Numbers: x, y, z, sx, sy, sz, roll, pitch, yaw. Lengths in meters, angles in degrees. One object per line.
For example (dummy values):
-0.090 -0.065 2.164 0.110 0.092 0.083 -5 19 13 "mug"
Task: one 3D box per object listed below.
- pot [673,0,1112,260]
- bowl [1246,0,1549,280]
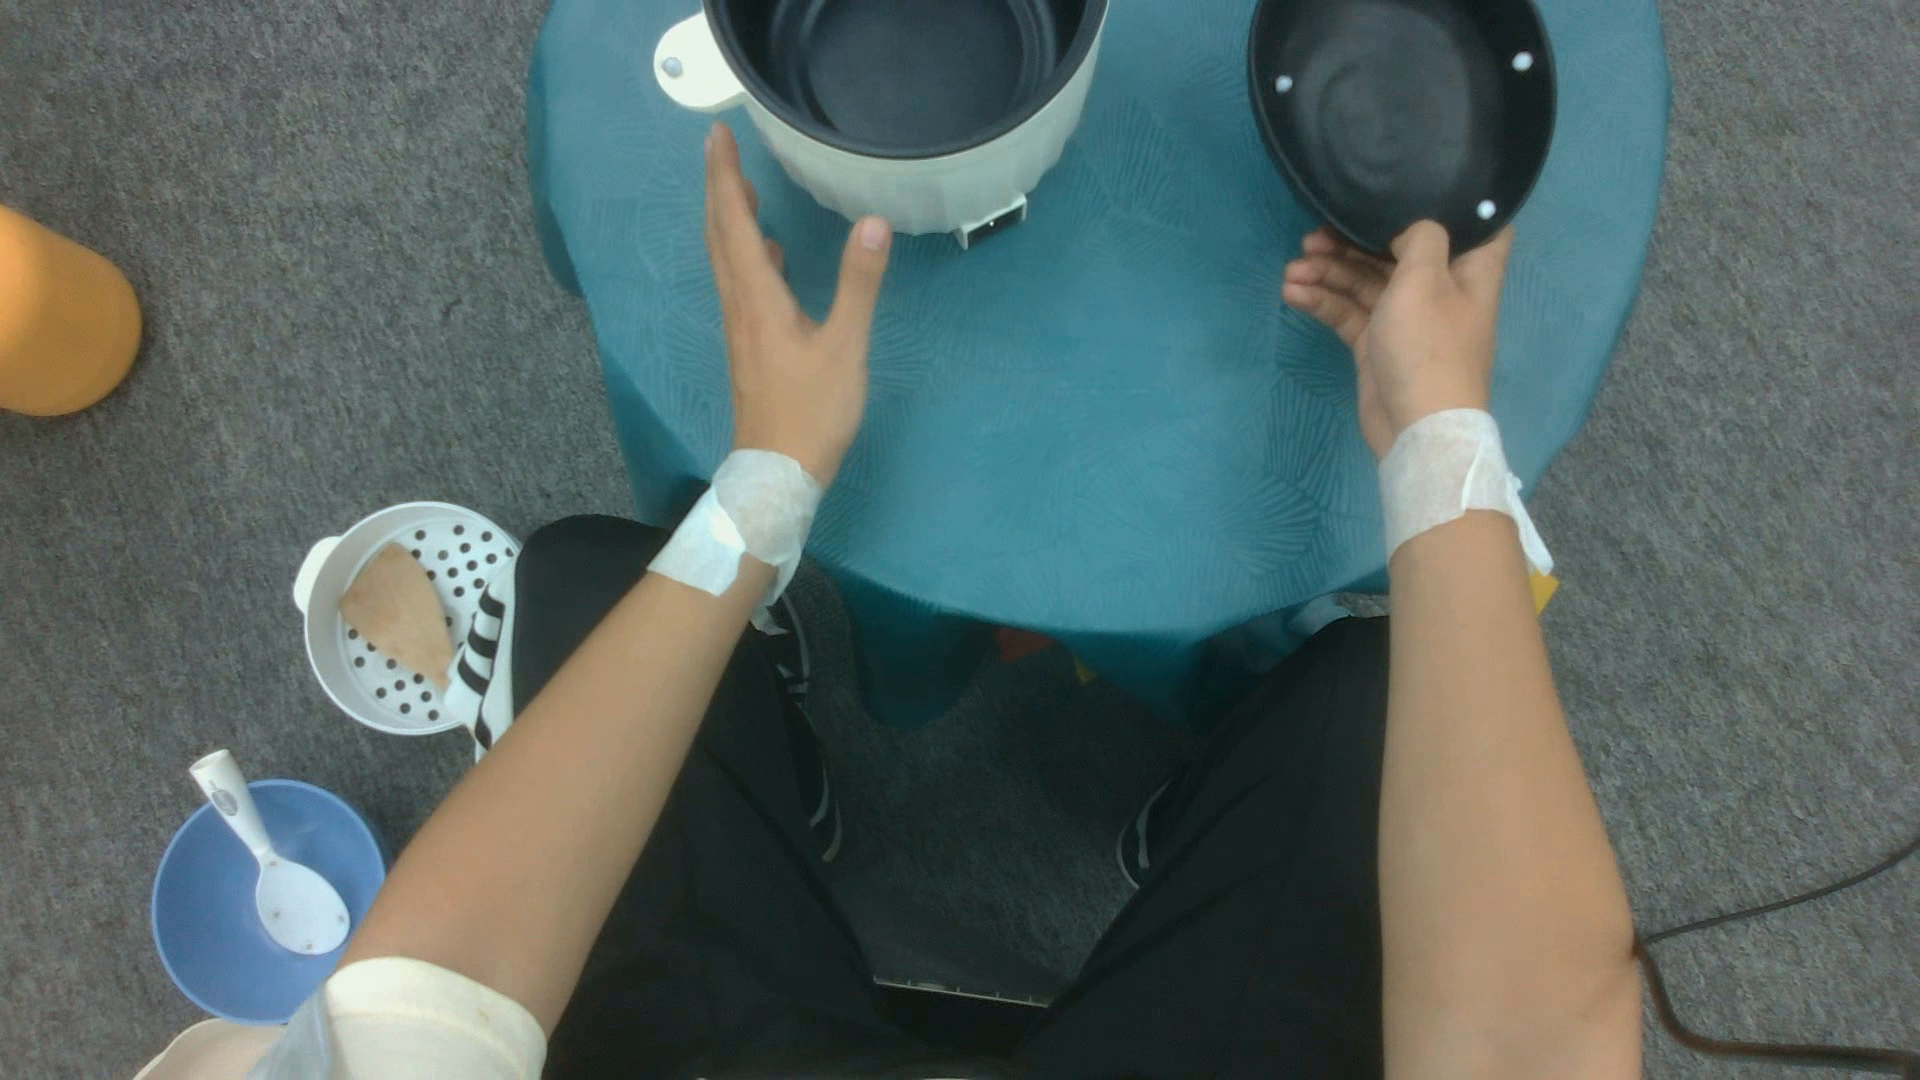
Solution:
-0.024 -0.245 0.685 0.240 0.142 0.190 -28 86 -3 "pot"
0.209 -0.209 0.675 0.137 0.067 0.170 -21 88 3 "bowl"
